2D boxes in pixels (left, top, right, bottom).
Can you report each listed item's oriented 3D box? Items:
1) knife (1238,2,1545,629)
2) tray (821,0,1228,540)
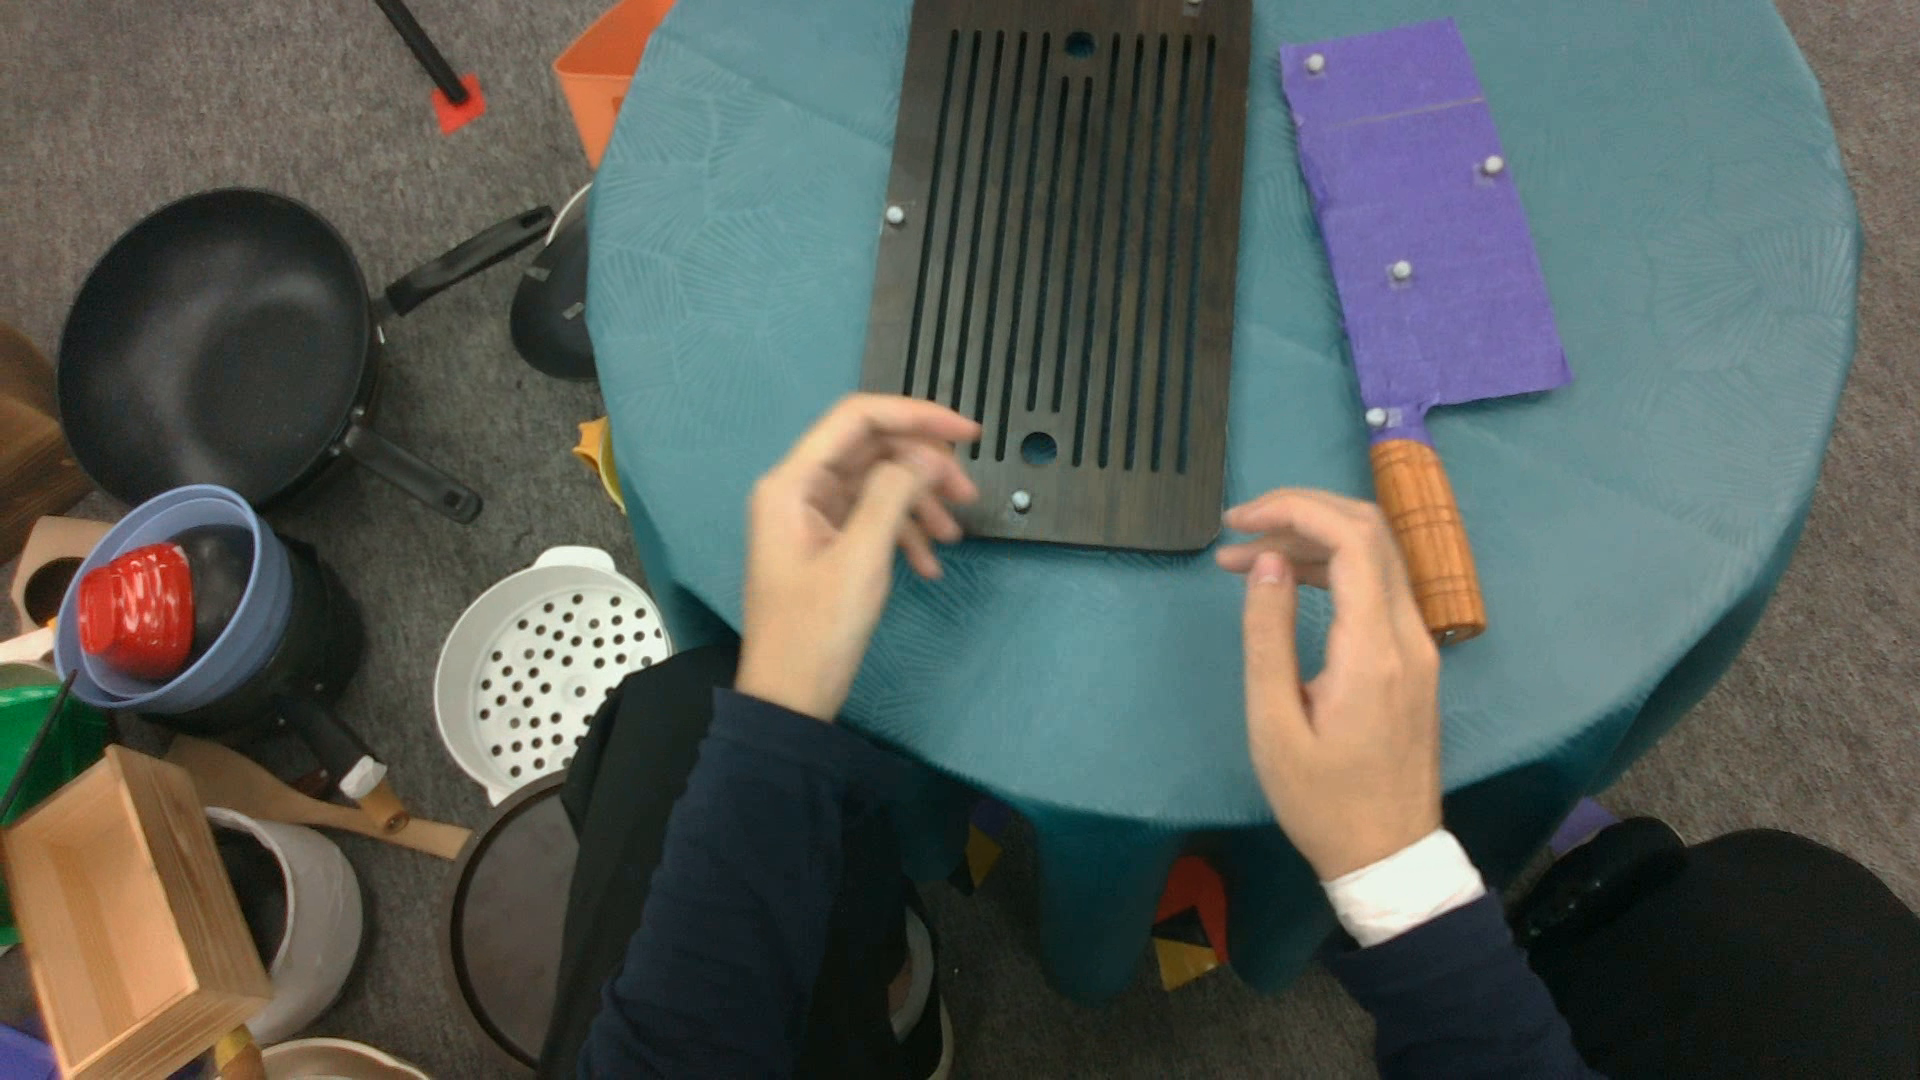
[{"bbox_3d":[0.209,-0.118,0.625,0.104,0.032,0.316,-9,70,3],"label":"knife"},{"bbox_3d":[0.036,-0.149,0.657,0.170,0.018,0.307,4,72,7],"label":"tray"}]
